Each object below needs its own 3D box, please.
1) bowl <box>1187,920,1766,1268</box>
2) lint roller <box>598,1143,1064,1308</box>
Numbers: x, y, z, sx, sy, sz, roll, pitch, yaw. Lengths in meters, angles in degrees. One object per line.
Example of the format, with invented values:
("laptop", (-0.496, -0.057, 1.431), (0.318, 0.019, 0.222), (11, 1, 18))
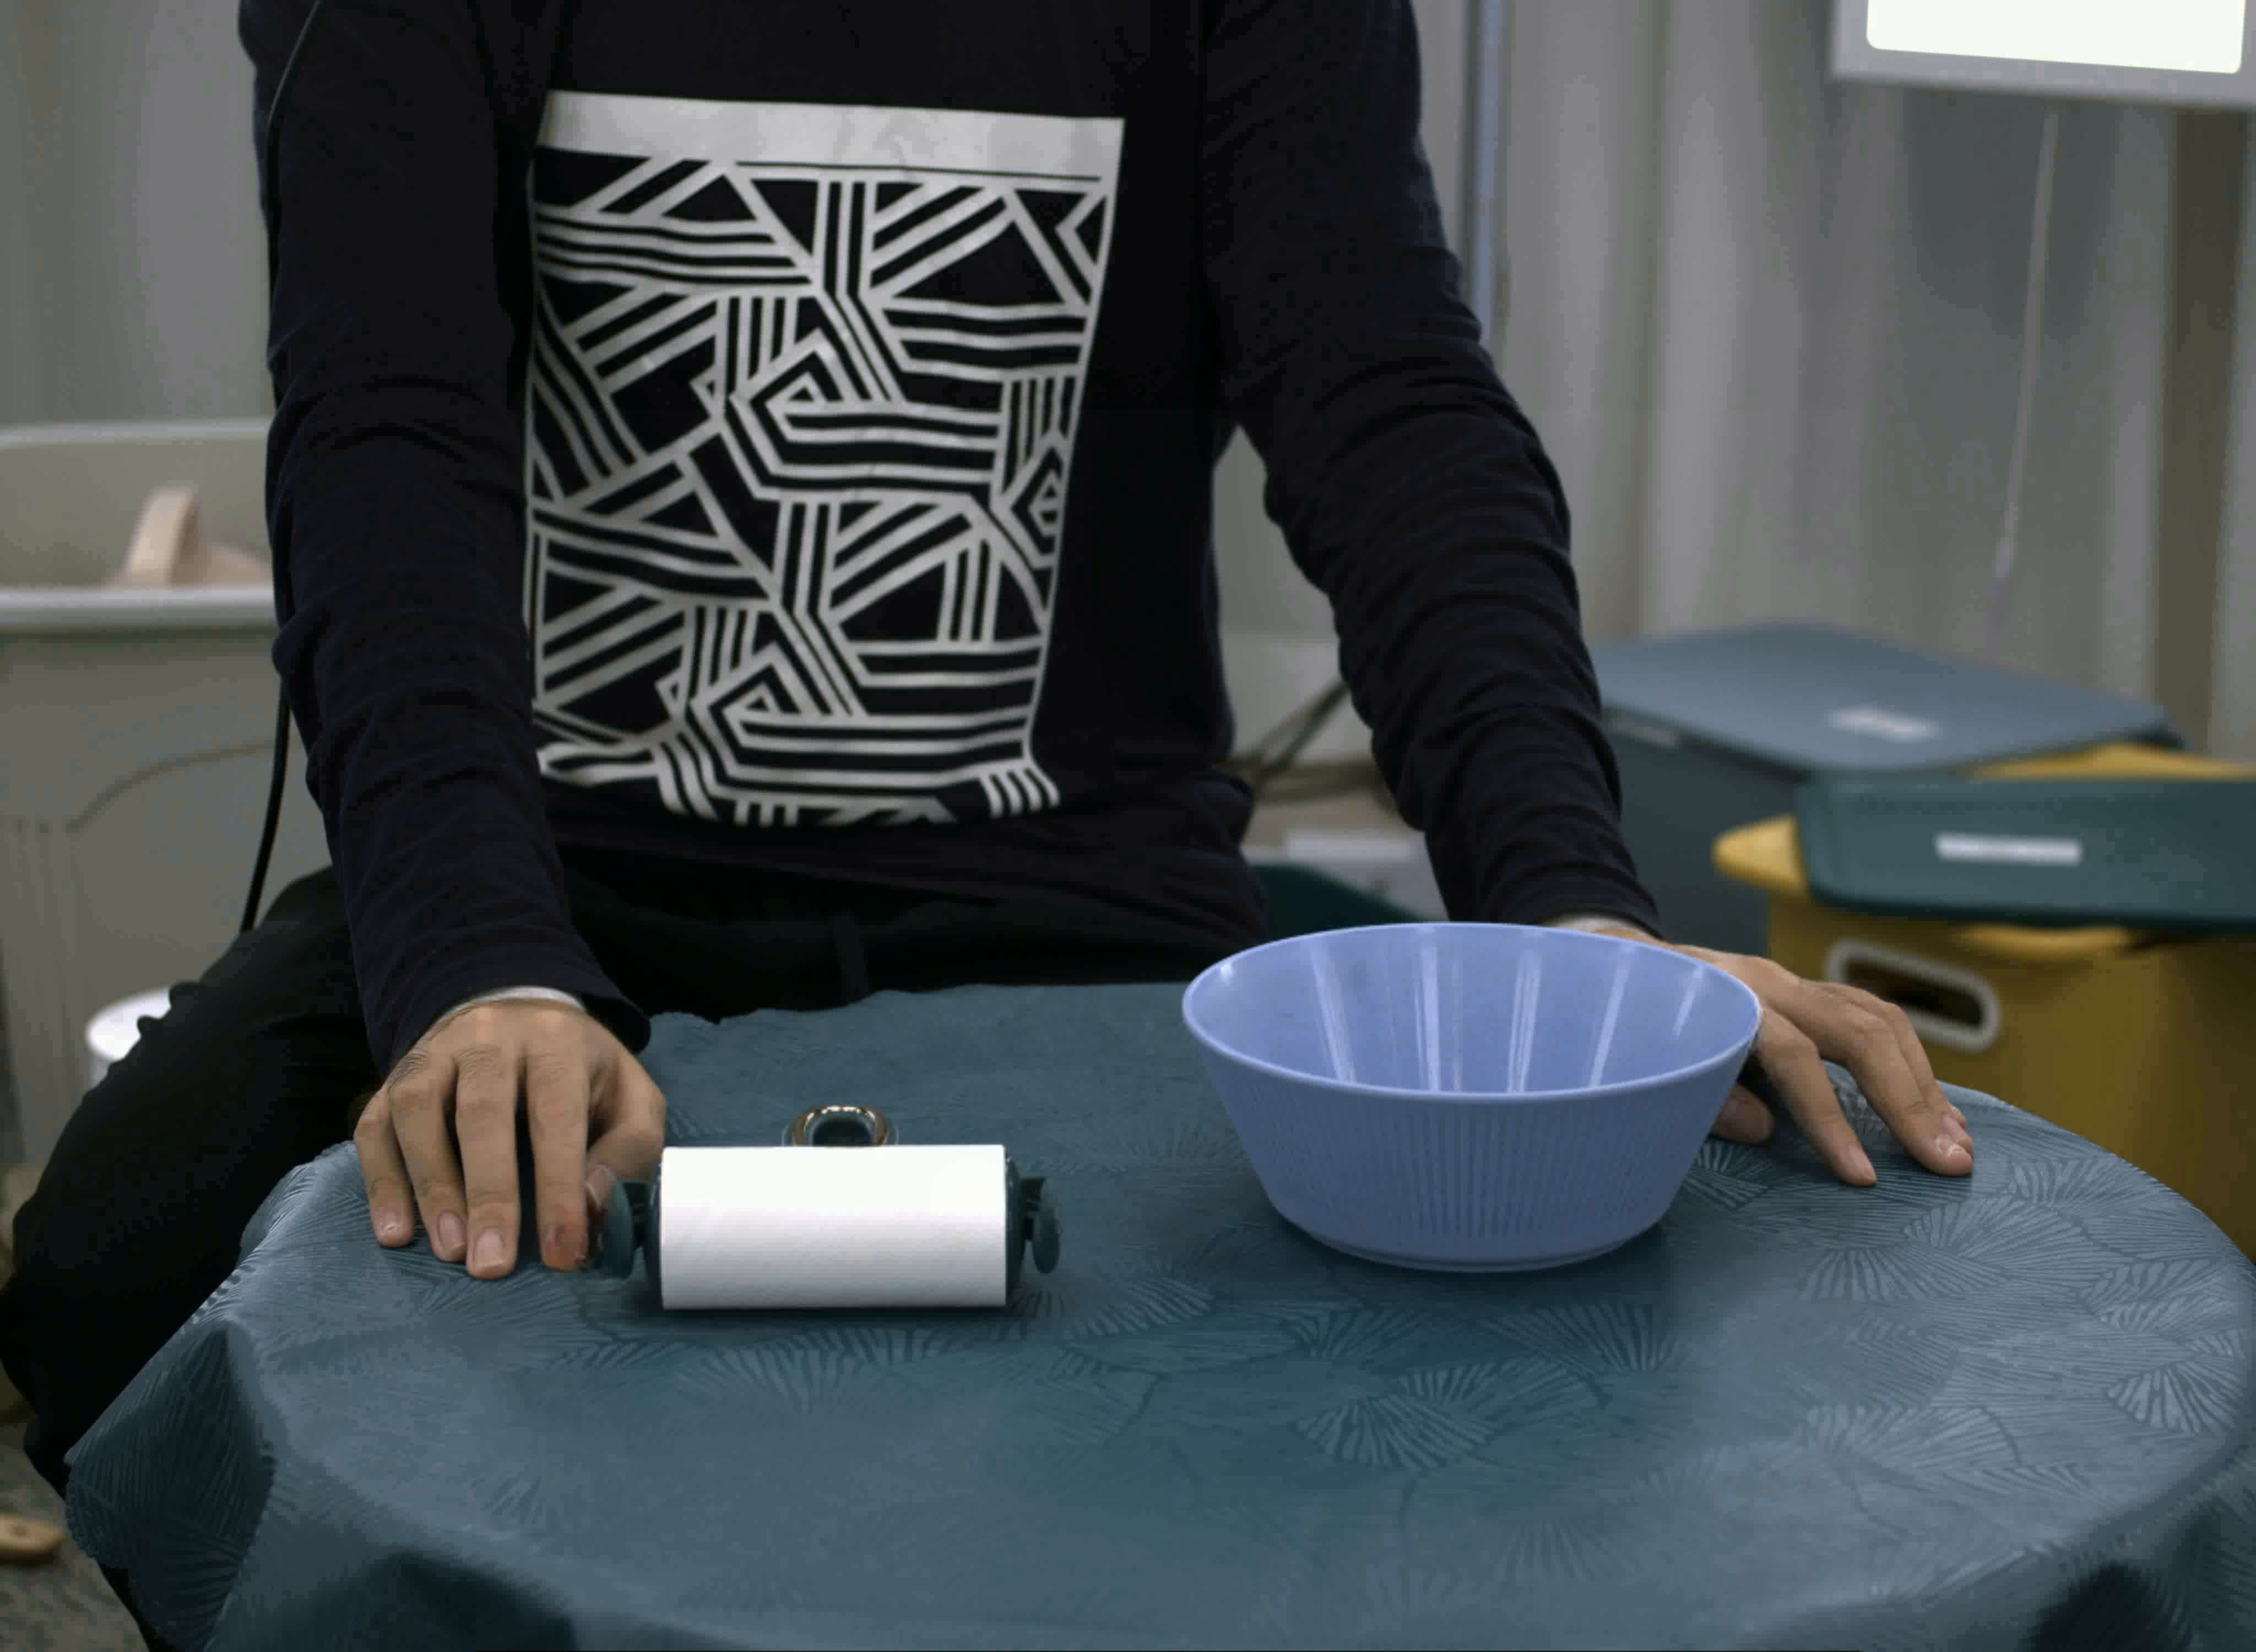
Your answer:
("bowl", (0.105, 0.084, 1.597), (0.175, 0.071, 0.175), (0, 15, 0))
("lint roller", (-0.089, 0.102, 1.585), (0.134, 0.048, 0.179), (0, 12, -3))
